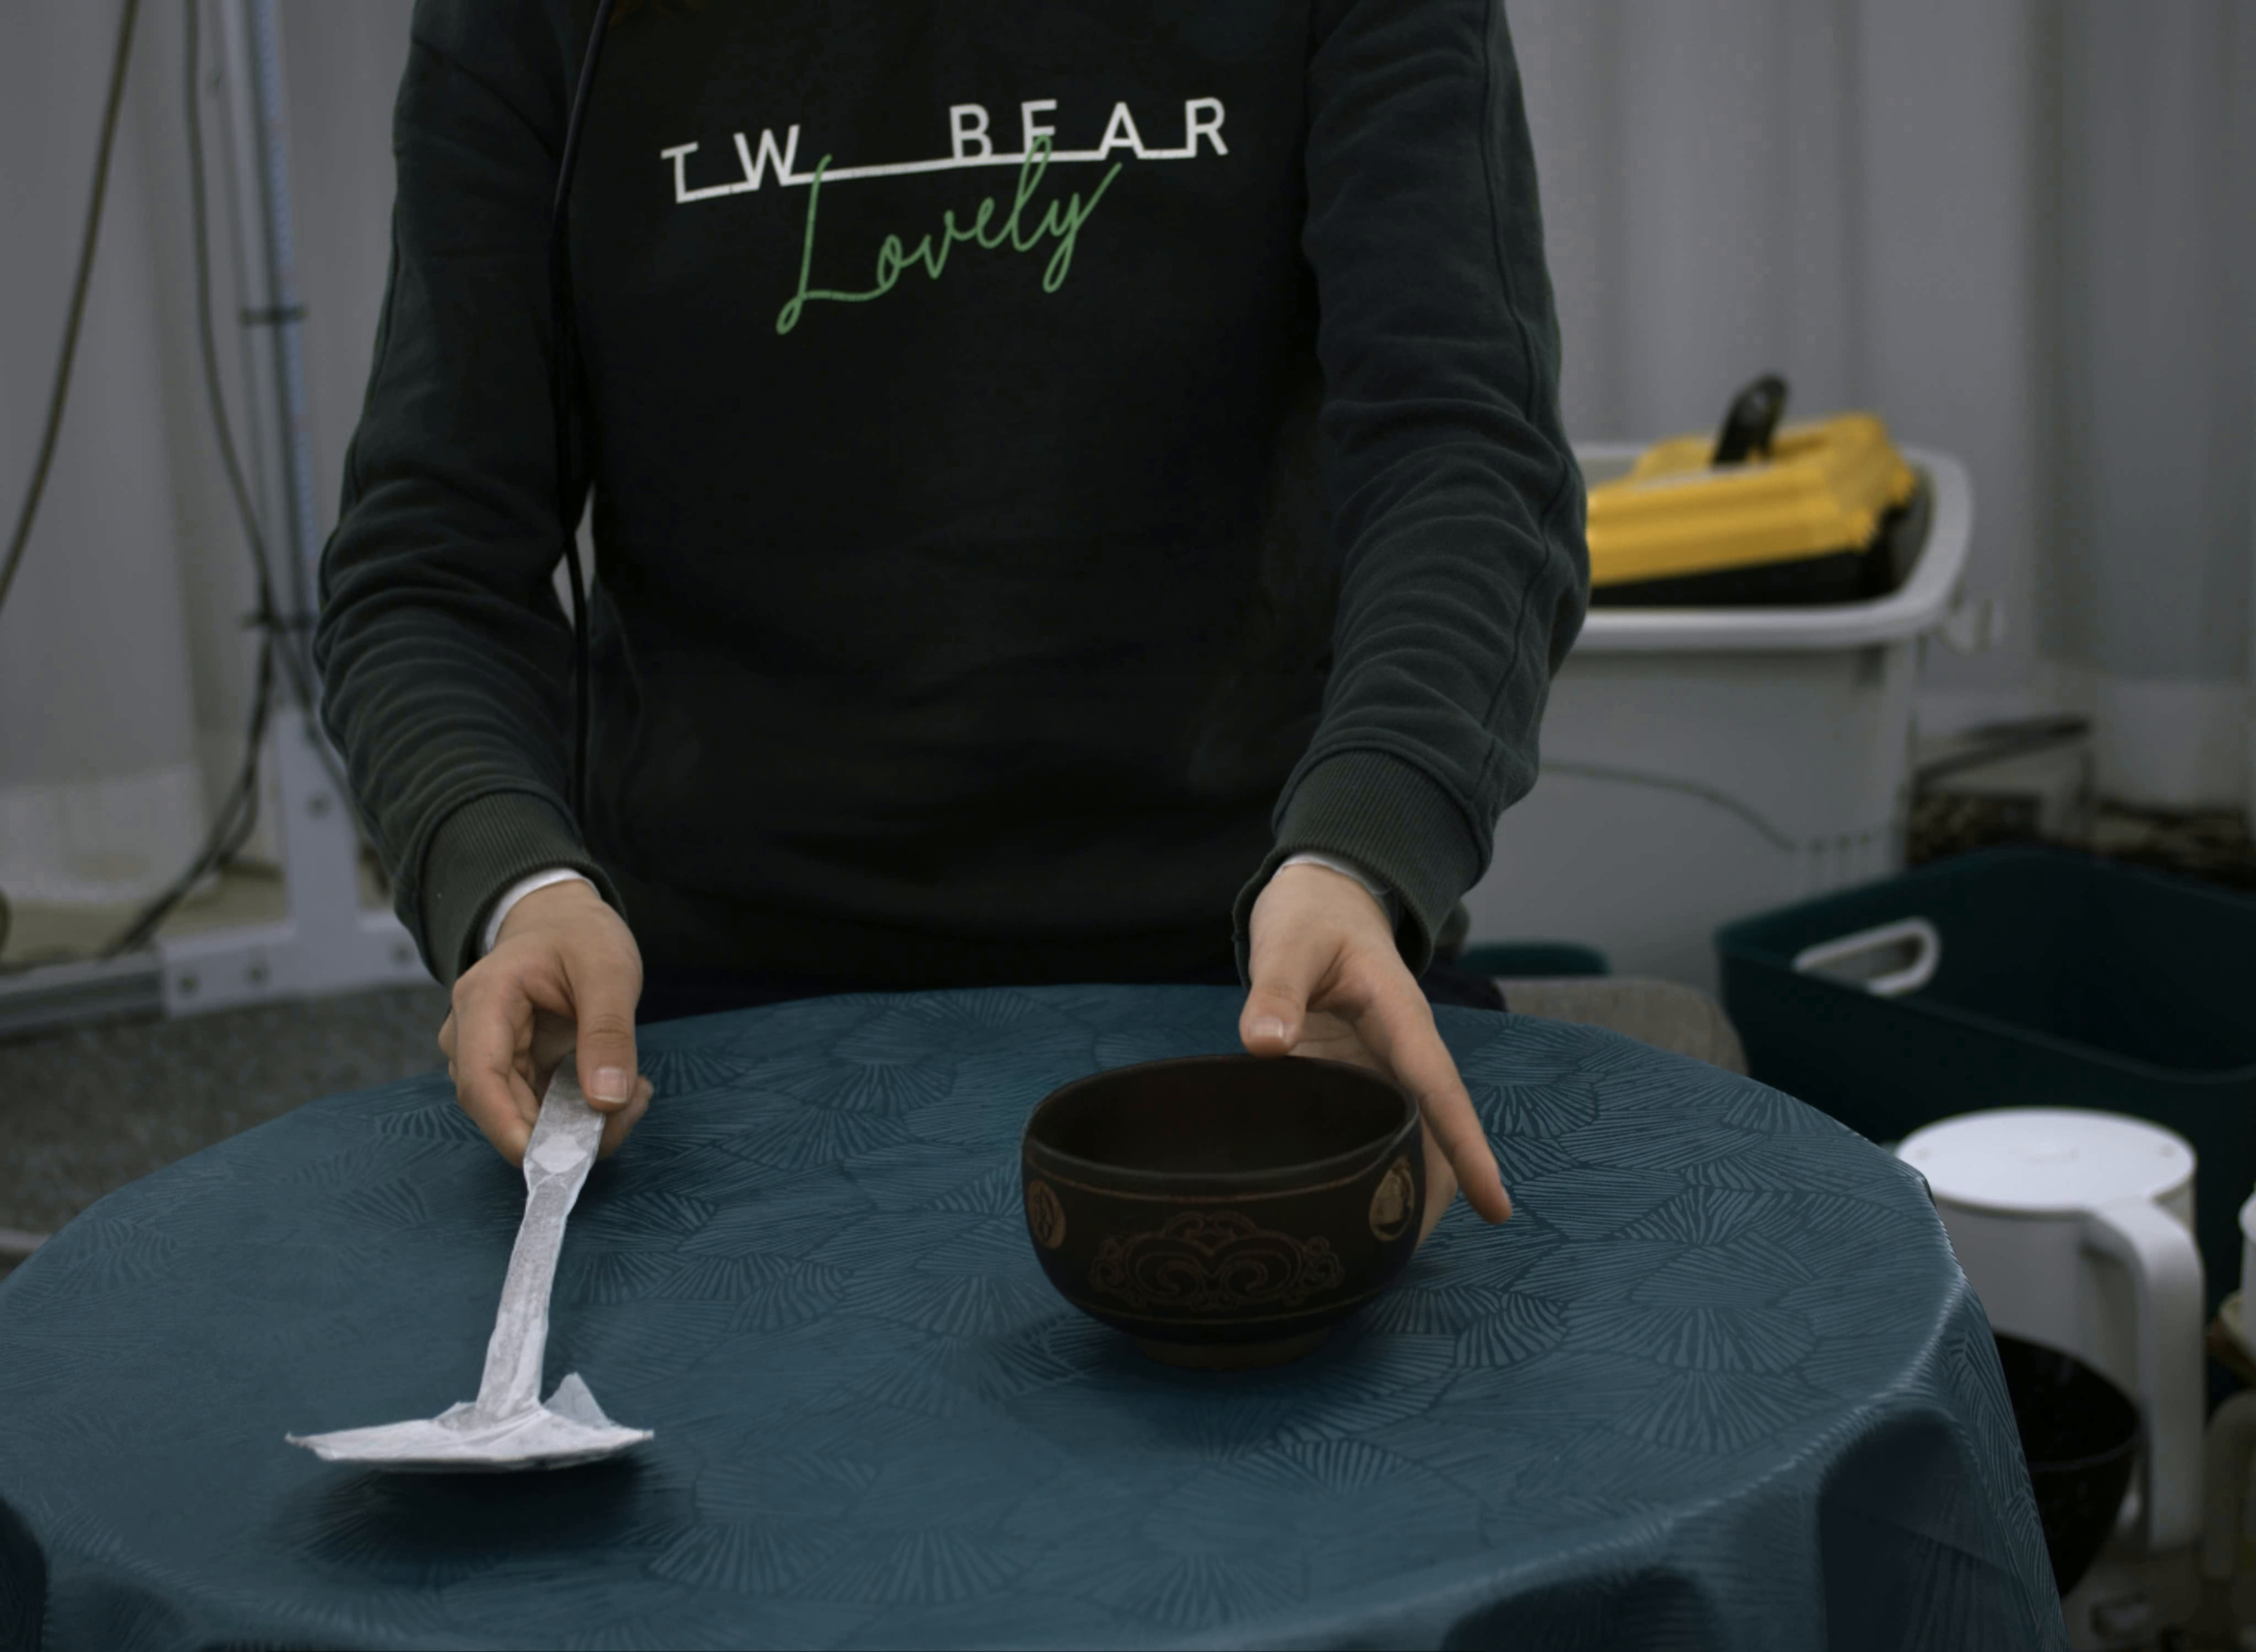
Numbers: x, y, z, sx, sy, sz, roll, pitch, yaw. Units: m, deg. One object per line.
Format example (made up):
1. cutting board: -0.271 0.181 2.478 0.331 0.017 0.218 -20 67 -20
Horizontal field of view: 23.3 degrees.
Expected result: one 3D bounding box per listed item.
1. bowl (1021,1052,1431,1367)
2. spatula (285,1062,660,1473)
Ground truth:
1. bowl: 0.028 0.114 1.574 0.117 0.069 0.119 -1 13 0
2. spatula: -0.171 0.122 1.612 0.098 0.044 0.368 -2 20 2
